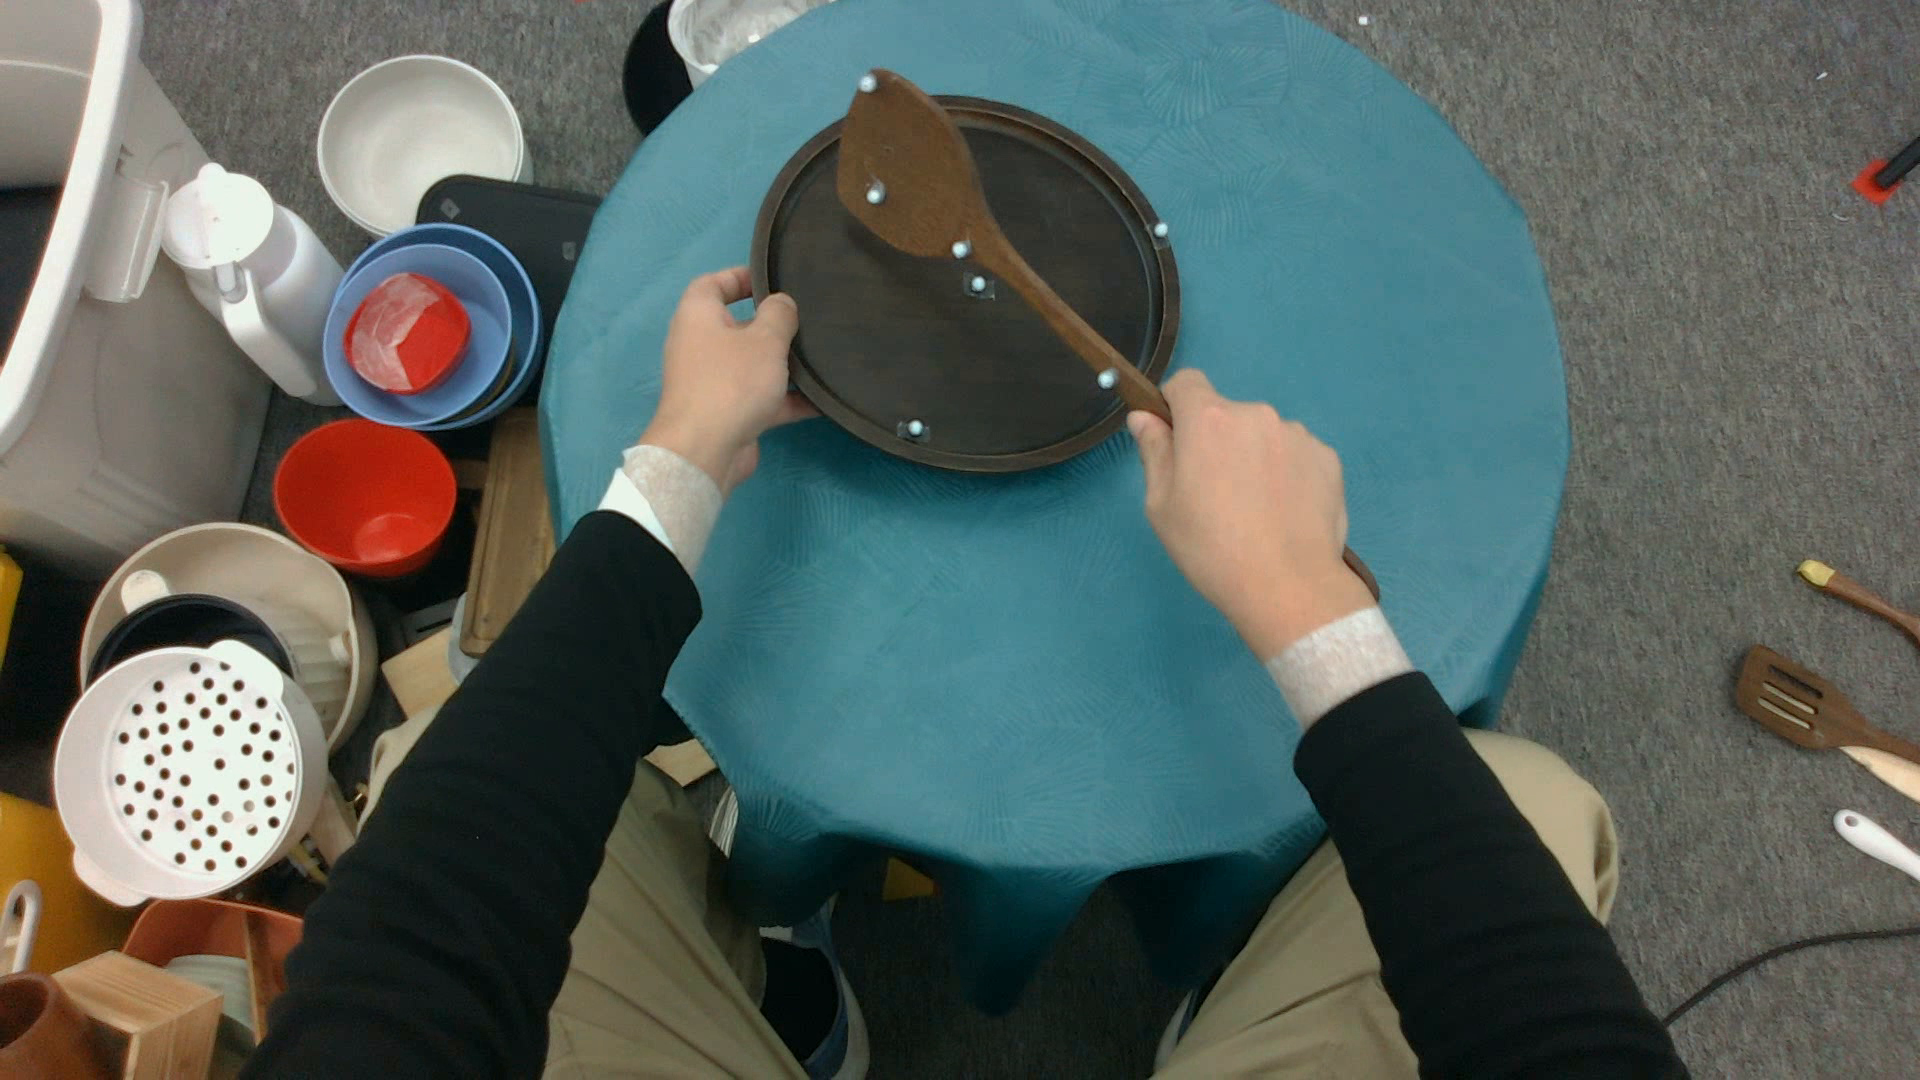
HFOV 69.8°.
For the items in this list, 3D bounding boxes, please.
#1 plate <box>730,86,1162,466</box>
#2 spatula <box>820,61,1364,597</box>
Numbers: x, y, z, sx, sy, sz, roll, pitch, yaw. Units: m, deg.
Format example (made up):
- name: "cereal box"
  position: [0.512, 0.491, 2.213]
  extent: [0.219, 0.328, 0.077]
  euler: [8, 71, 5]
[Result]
- name: "plate"
  position: [-0.006, -0.157, 0.801]
  extent: [0.255, 0.029, 0.255]
  euler: [4, 67, -11]
- name: "spatula"
  position: [0.057, -0.105, 0.704]
  extent: [0.016, 0.095, 0.386]
  euler: [-32, 69, -36]
